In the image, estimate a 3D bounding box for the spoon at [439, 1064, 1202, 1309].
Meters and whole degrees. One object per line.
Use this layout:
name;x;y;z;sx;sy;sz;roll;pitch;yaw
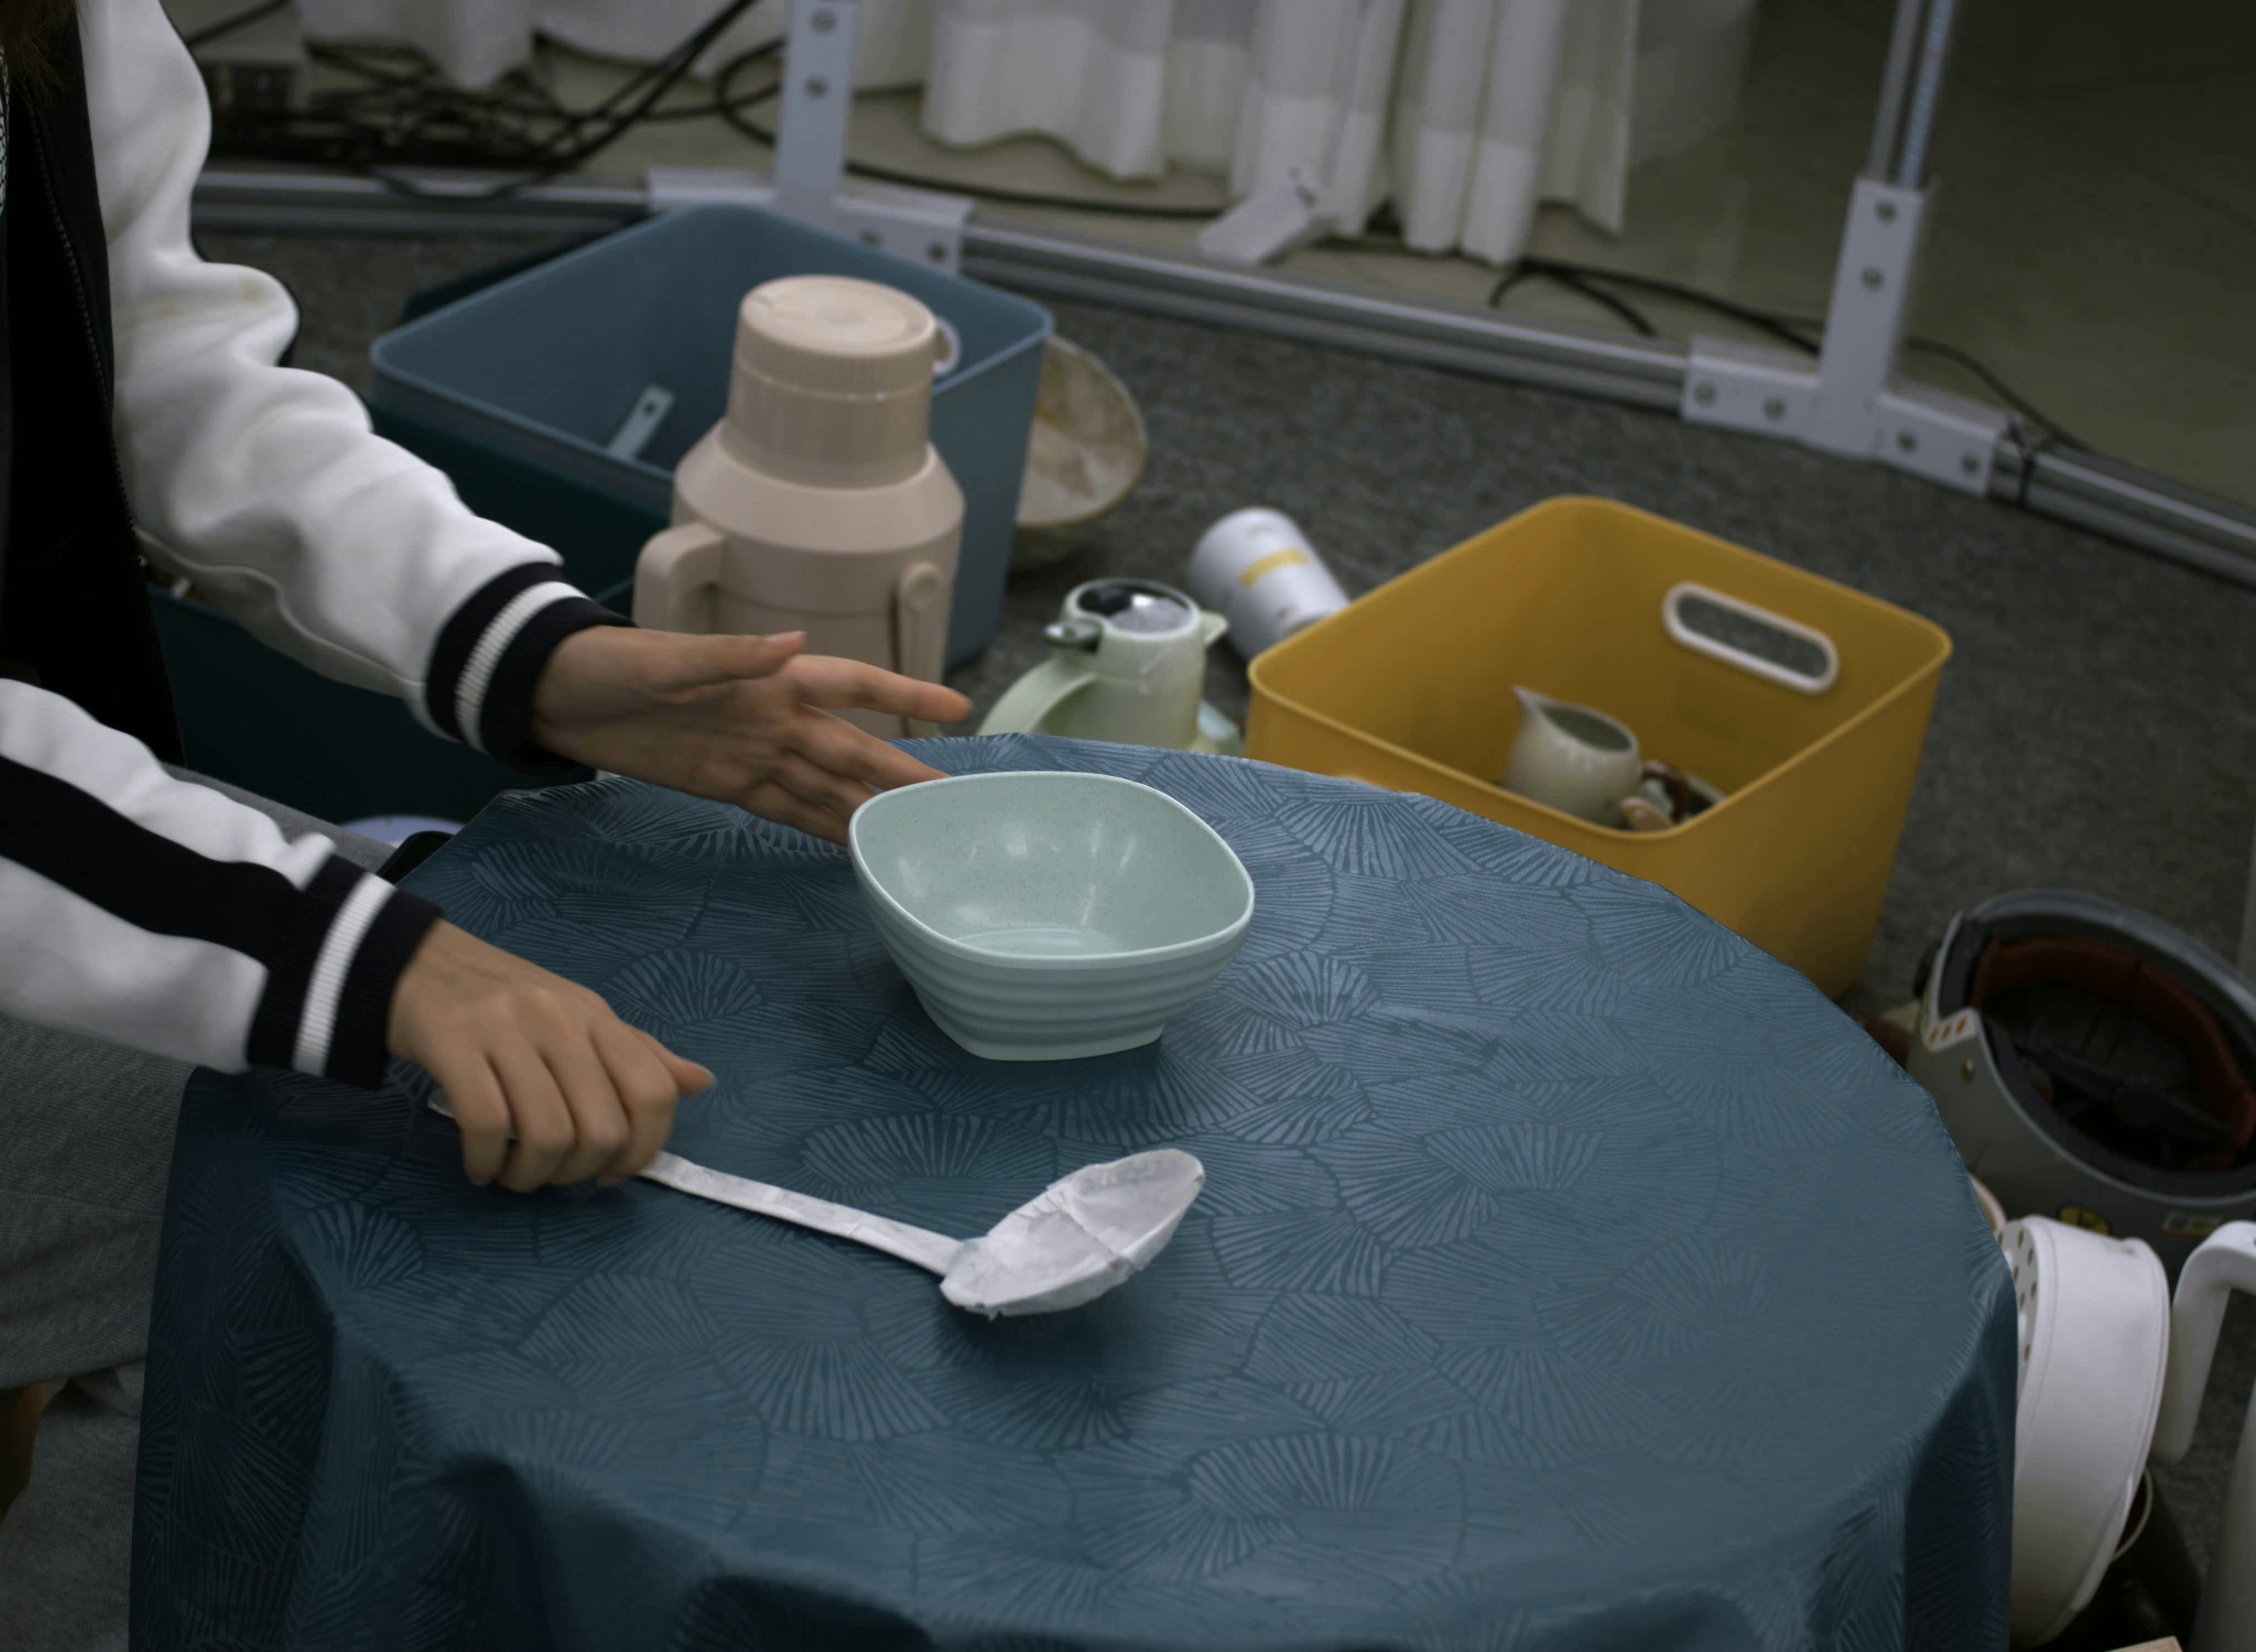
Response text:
spoon;-0.106;0.100;1.759;0.278;0.059;0.100;18;27;21

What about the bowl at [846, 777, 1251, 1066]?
bowl;-0.031;0.040;1.902;0.151;0.058;0.152;5;27;-3
